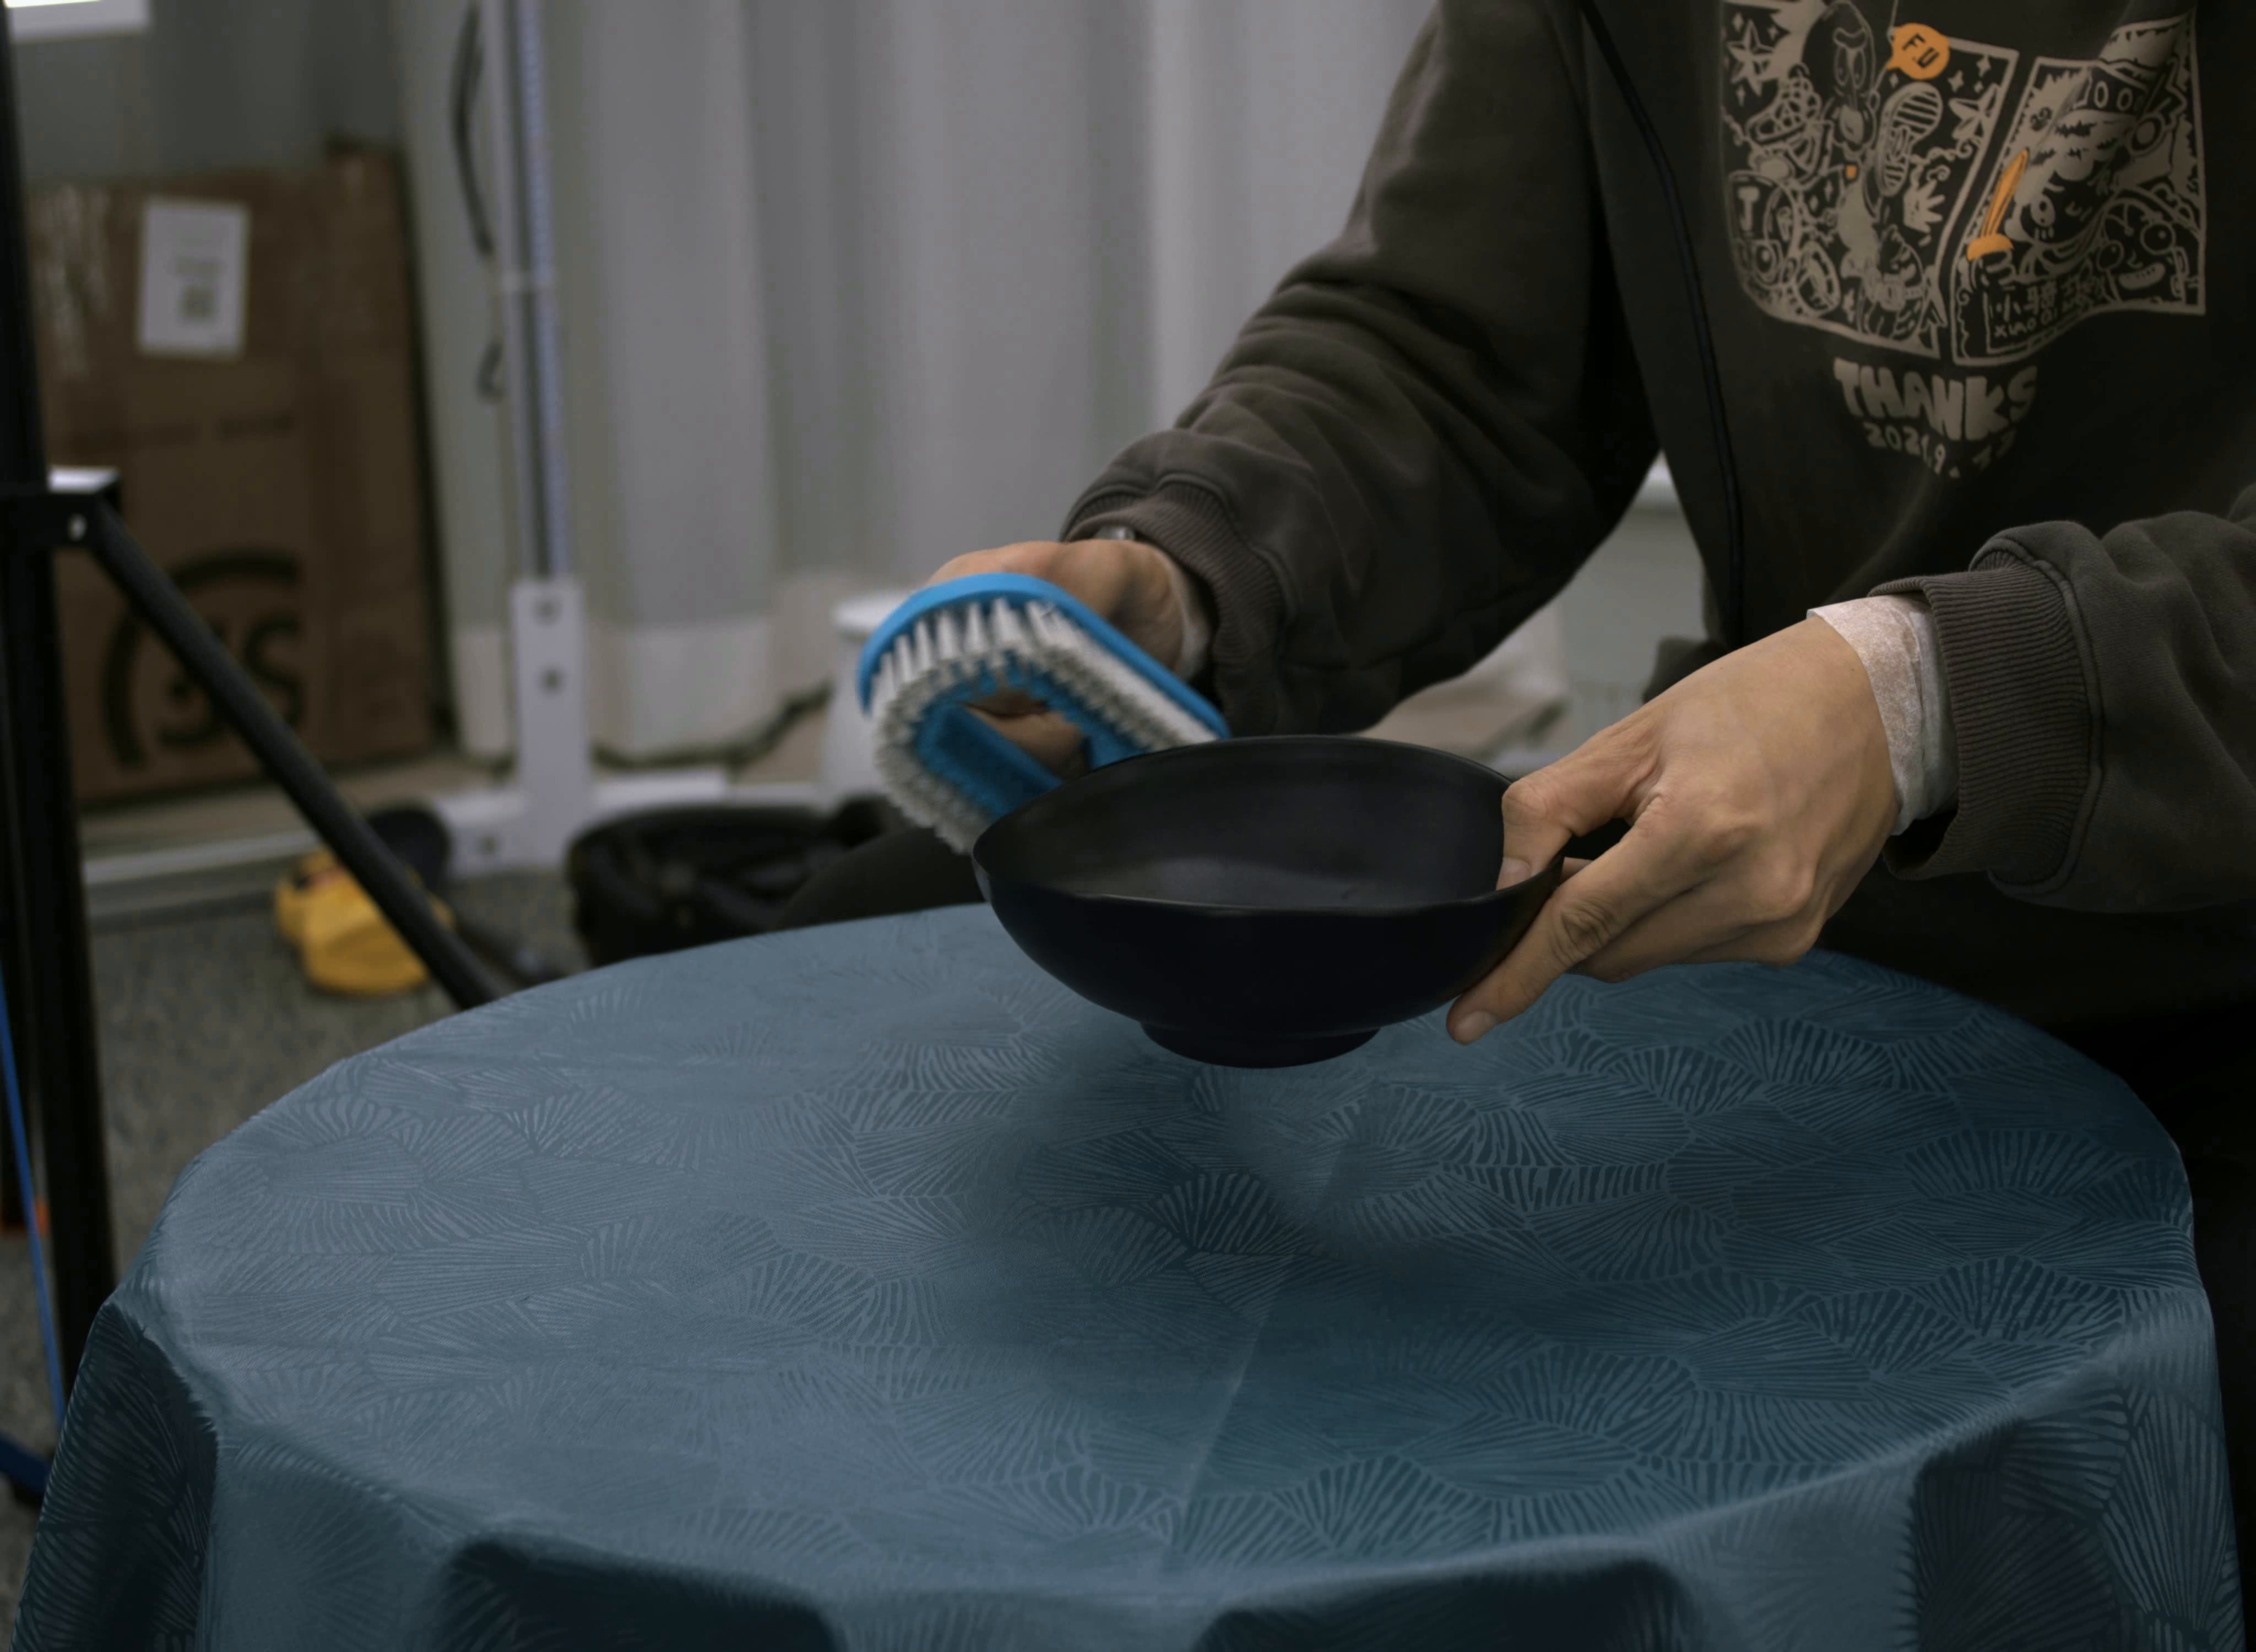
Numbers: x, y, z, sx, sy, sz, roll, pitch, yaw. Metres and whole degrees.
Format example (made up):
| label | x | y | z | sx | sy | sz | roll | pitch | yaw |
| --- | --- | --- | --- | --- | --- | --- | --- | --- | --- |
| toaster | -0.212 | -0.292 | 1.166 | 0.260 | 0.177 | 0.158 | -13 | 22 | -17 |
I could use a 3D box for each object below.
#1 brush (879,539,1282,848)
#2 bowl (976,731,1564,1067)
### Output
| label | x | y | z | sx | sy | sz | roll | pitch | yaw |
| --- | --- | --- | --- | --- | --- | --- | --- | --- | --- |
| brush | -0.018 | -0.036 | 1.575 | 0.138 | 0.085 | 0.065 | 35 | 21 | -38 |
| bowl | 0.039 | 0.027 | 1.498 | 0.172 | 0.066 | 0.136 | 3 | 22 | 17 |
